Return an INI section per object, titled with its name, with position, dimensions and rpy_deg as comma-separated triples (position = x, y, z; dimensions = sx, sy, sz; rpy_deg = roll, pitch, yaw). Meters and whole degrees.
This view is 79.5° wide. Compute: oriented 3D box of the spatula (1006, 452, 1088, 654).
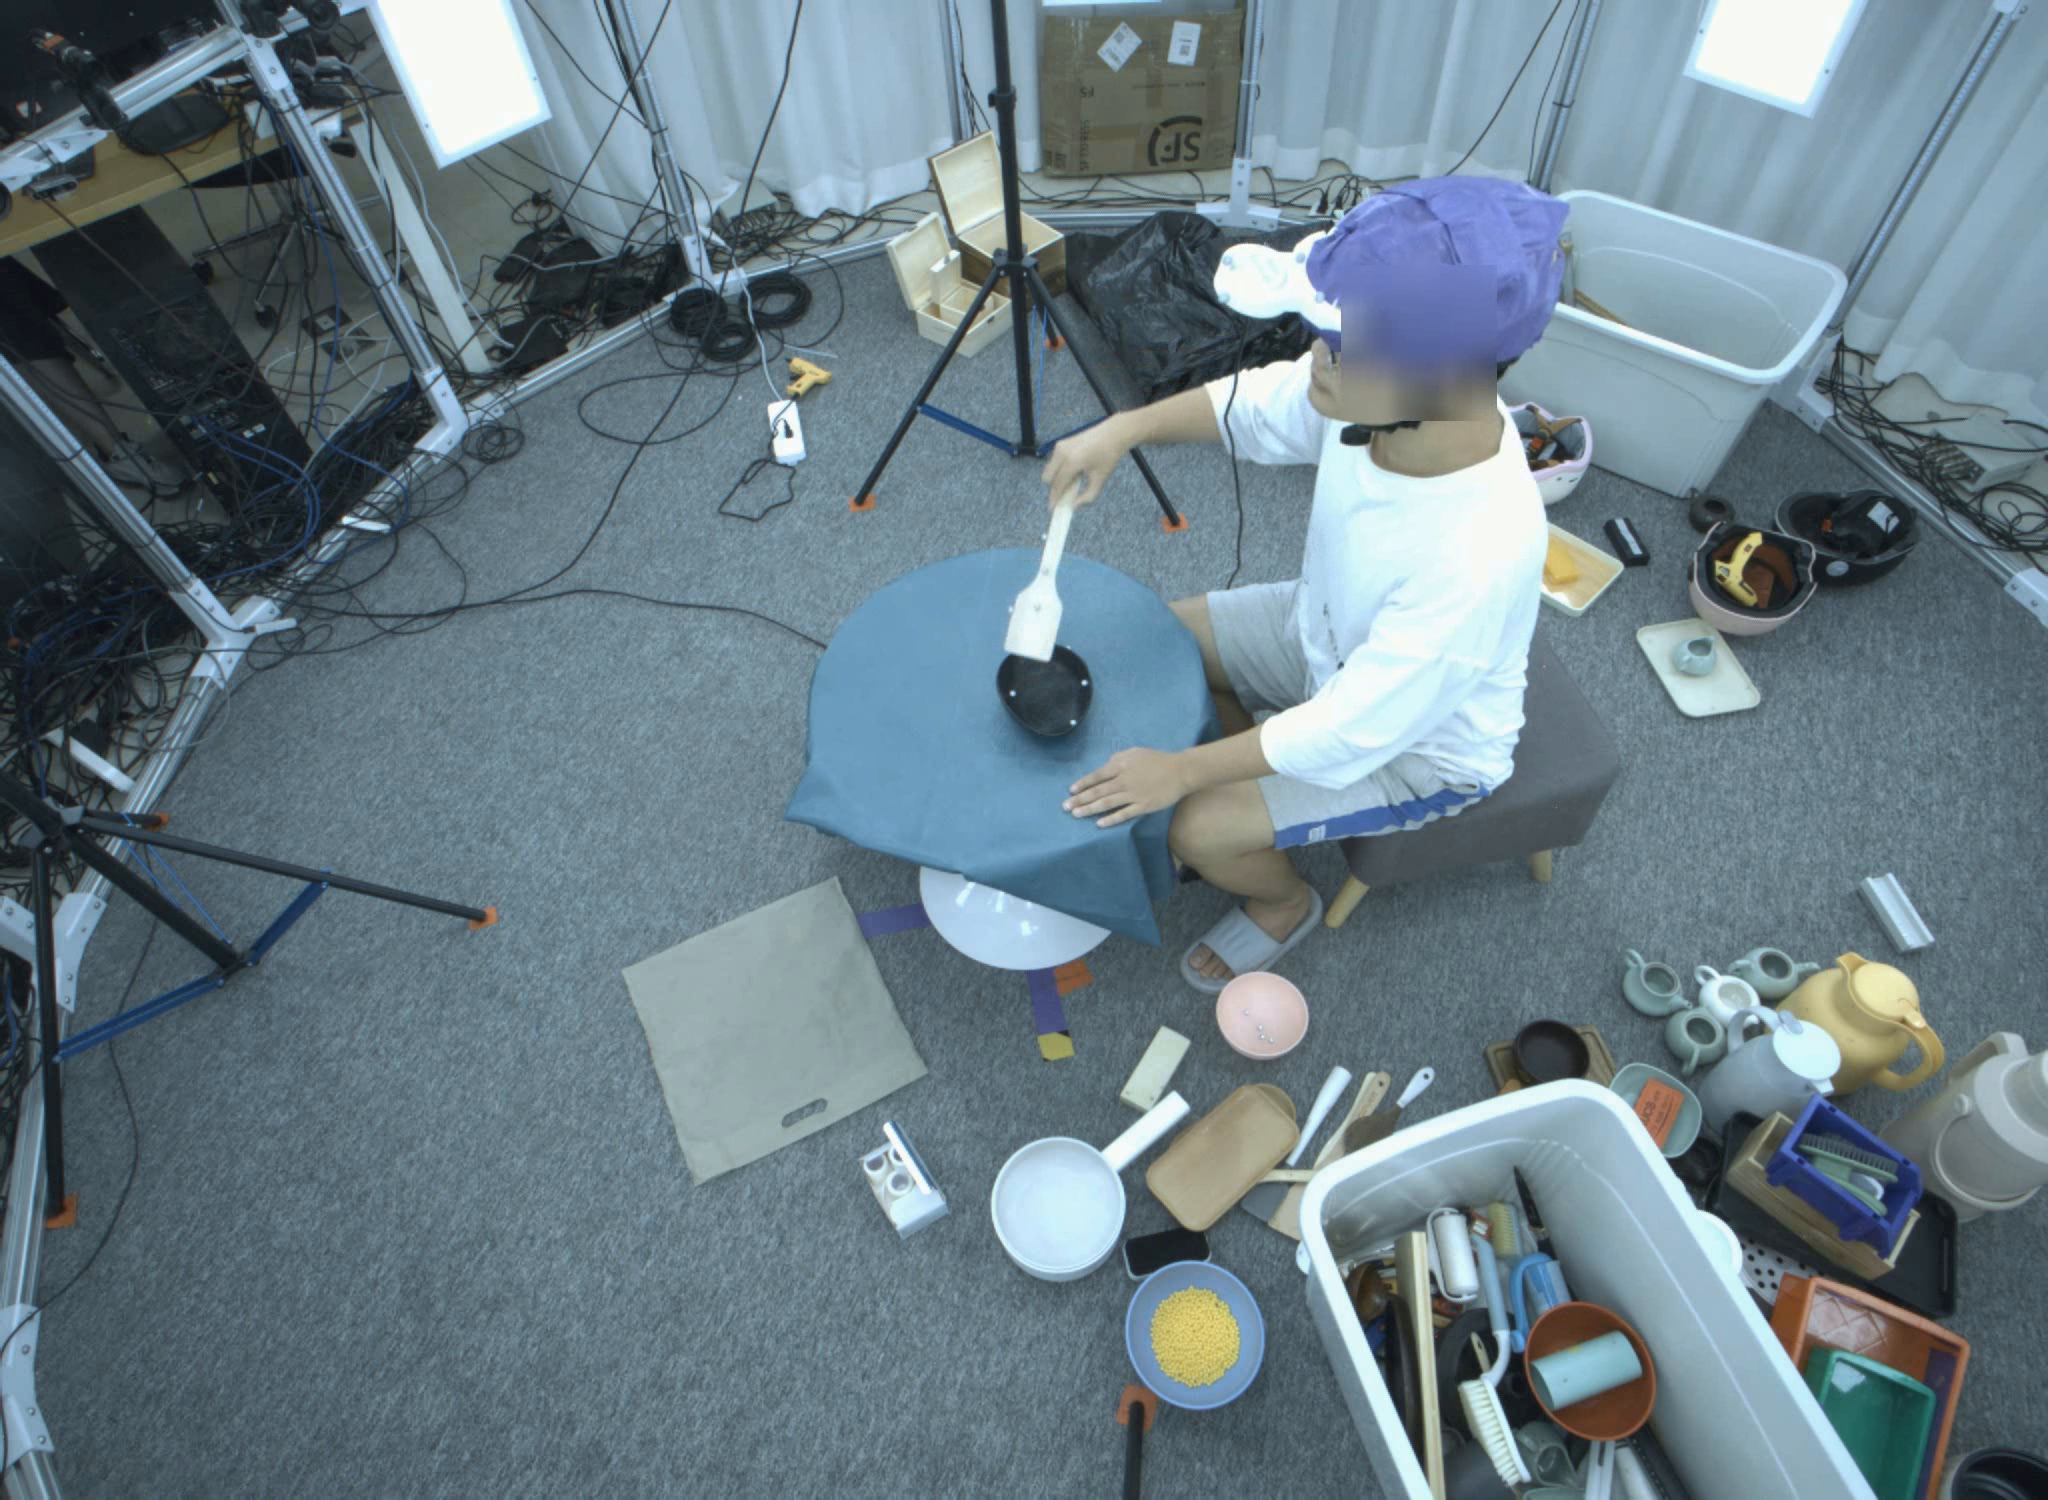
[spatula]
position = 0.041, -0.286, 1.757
dimensions = 0.072, 0.011, 0.293
rpy_deg = 15, 94, 4

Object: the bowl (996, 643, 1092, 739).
[bowl]
position = 0.031, -0.079, 1.801
dimensions = 0.138, 0.067, 0.167
rpy_deg = -16, 57, -10
